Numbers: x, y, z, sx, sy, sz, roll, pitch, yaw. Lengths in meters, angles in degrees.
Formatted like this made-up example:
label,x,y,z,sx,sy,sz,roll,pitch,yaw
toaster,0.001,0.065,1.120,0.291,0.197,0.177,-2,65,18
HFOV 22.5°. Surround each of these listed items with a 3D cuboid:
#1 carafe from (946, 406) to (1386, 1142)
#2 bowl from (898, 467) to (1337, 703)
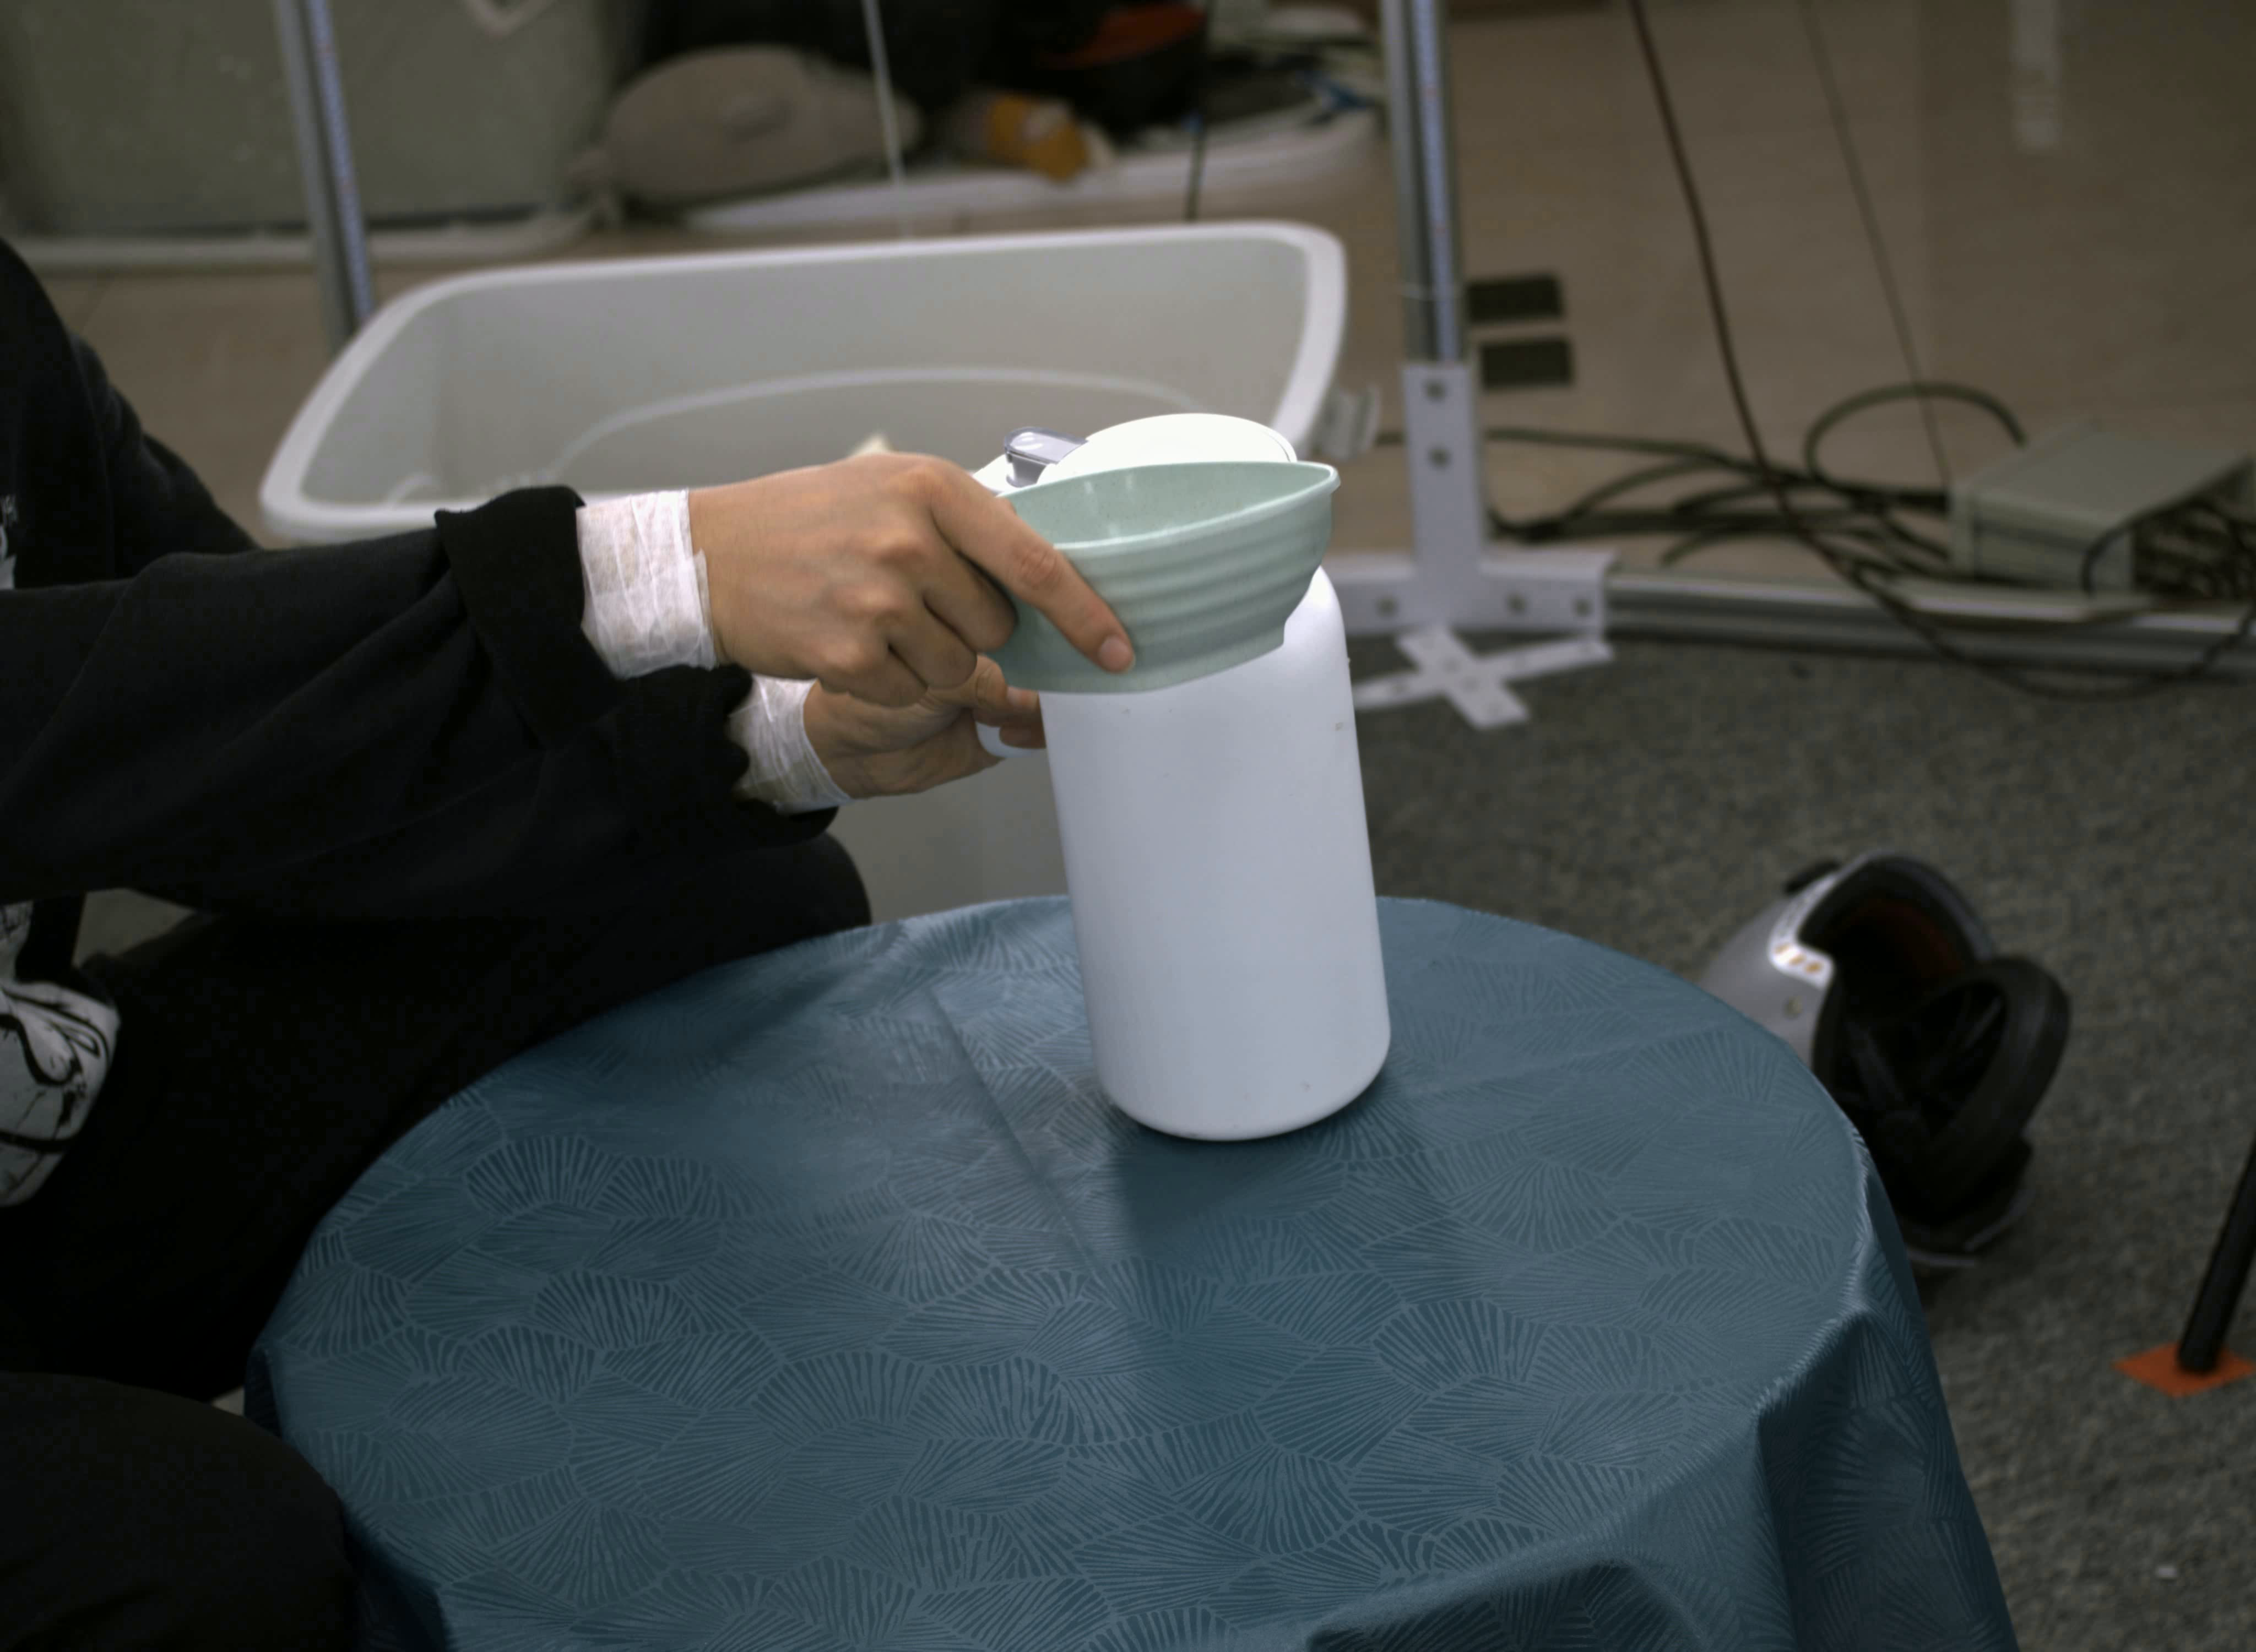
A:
label,x,y,z,sx,sy,sz,roll,pitch,yaw
carafe,0.015,-0.021,2.155,0.171,0.274,0.122,18,43,33
bowl,-0.001,-0.081,1.948,0.151,0.059,0.150,-6,14,2
